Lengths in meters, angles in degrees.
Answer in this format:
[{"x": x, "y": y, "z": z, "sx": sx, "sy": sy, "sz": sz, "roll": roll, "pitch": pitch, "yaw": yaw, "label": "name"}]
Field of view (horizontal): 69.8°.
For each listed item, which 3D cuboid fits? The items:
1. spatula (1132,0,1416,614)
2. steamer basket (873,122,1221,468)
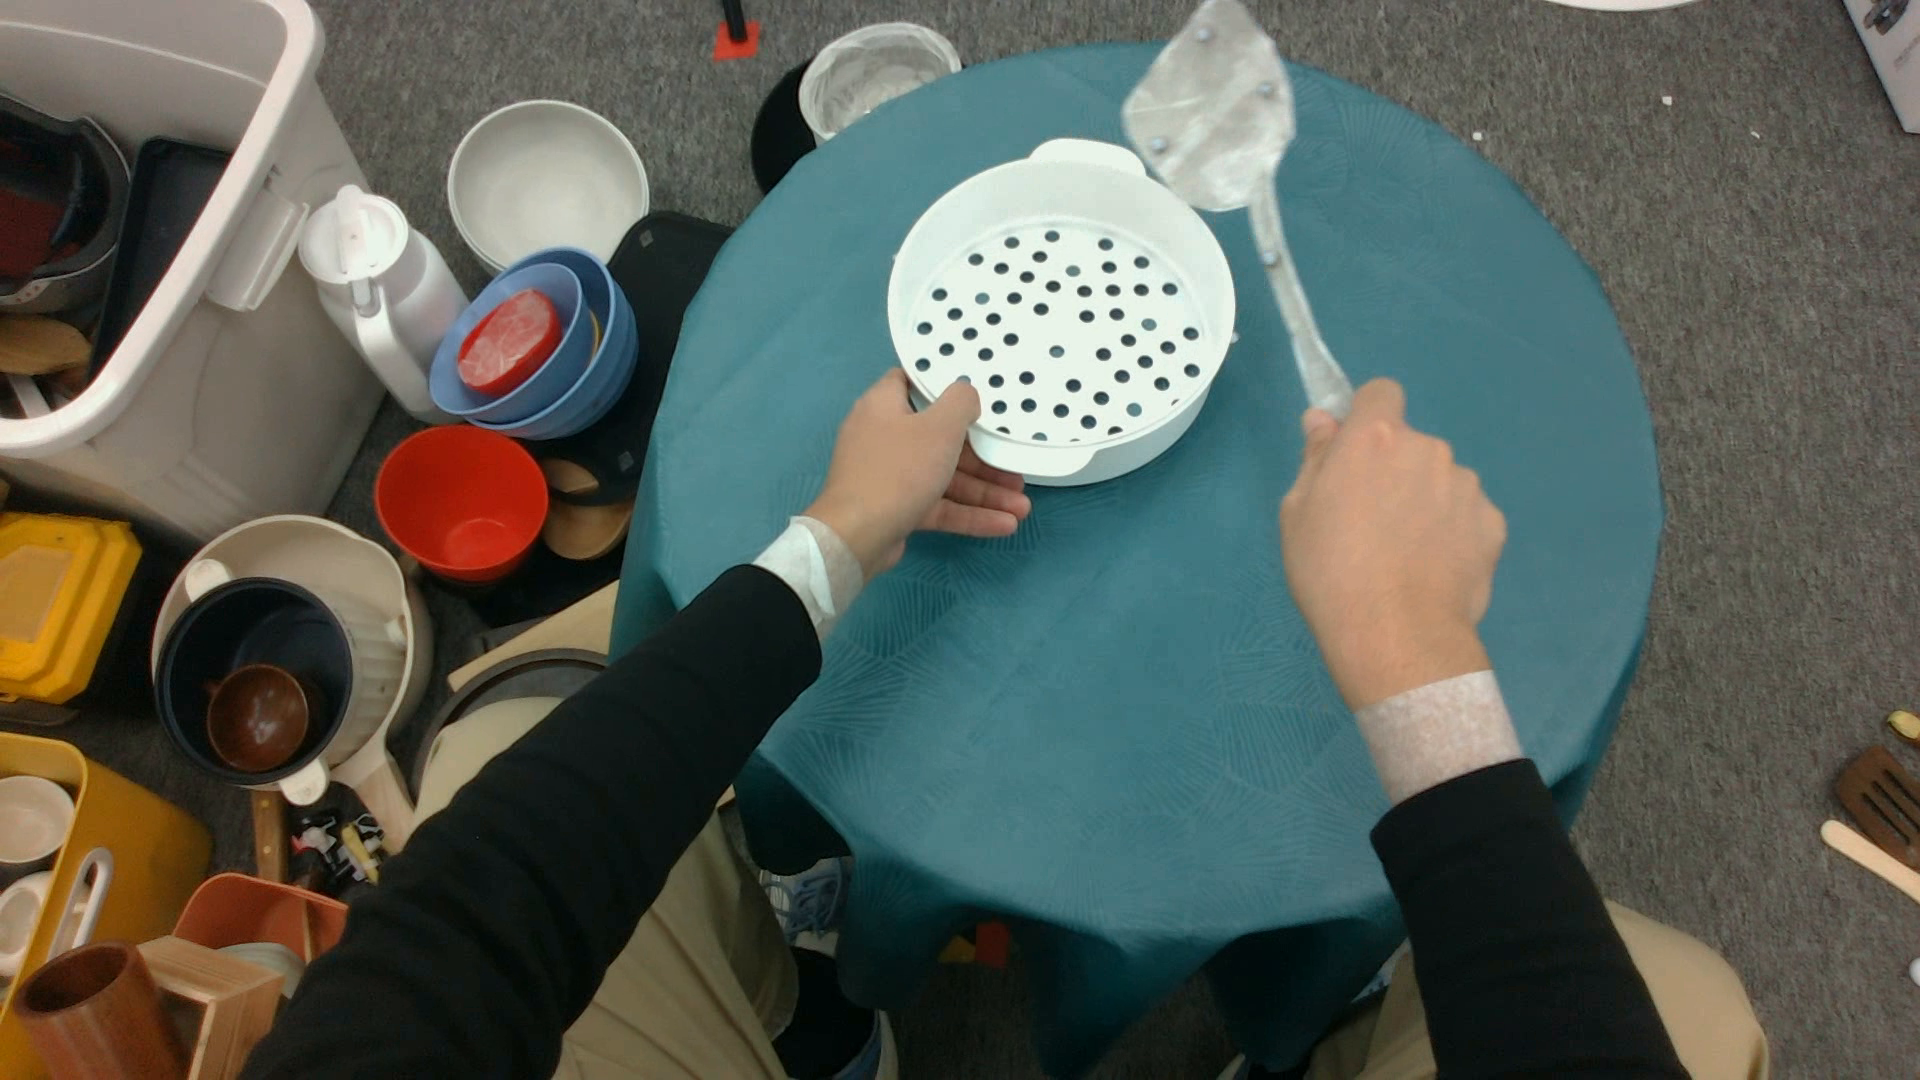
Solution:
[{"x": 0.163, "y": -0.130, "z": 0.691, "sx": 0.045, "sy": 0.098, "sz": 0.366, "roll": 17, "pitch": 50, "yaw": -34, "label": "spatula"}, {"x": 0.051, "y": -0.140, "z": 0.824, "sx": 0.202, "sy": 0.069, "sz": 0.231, "roll": 10, "pitch": 68, "yaw": 6, "label": "steamer basket"}]
